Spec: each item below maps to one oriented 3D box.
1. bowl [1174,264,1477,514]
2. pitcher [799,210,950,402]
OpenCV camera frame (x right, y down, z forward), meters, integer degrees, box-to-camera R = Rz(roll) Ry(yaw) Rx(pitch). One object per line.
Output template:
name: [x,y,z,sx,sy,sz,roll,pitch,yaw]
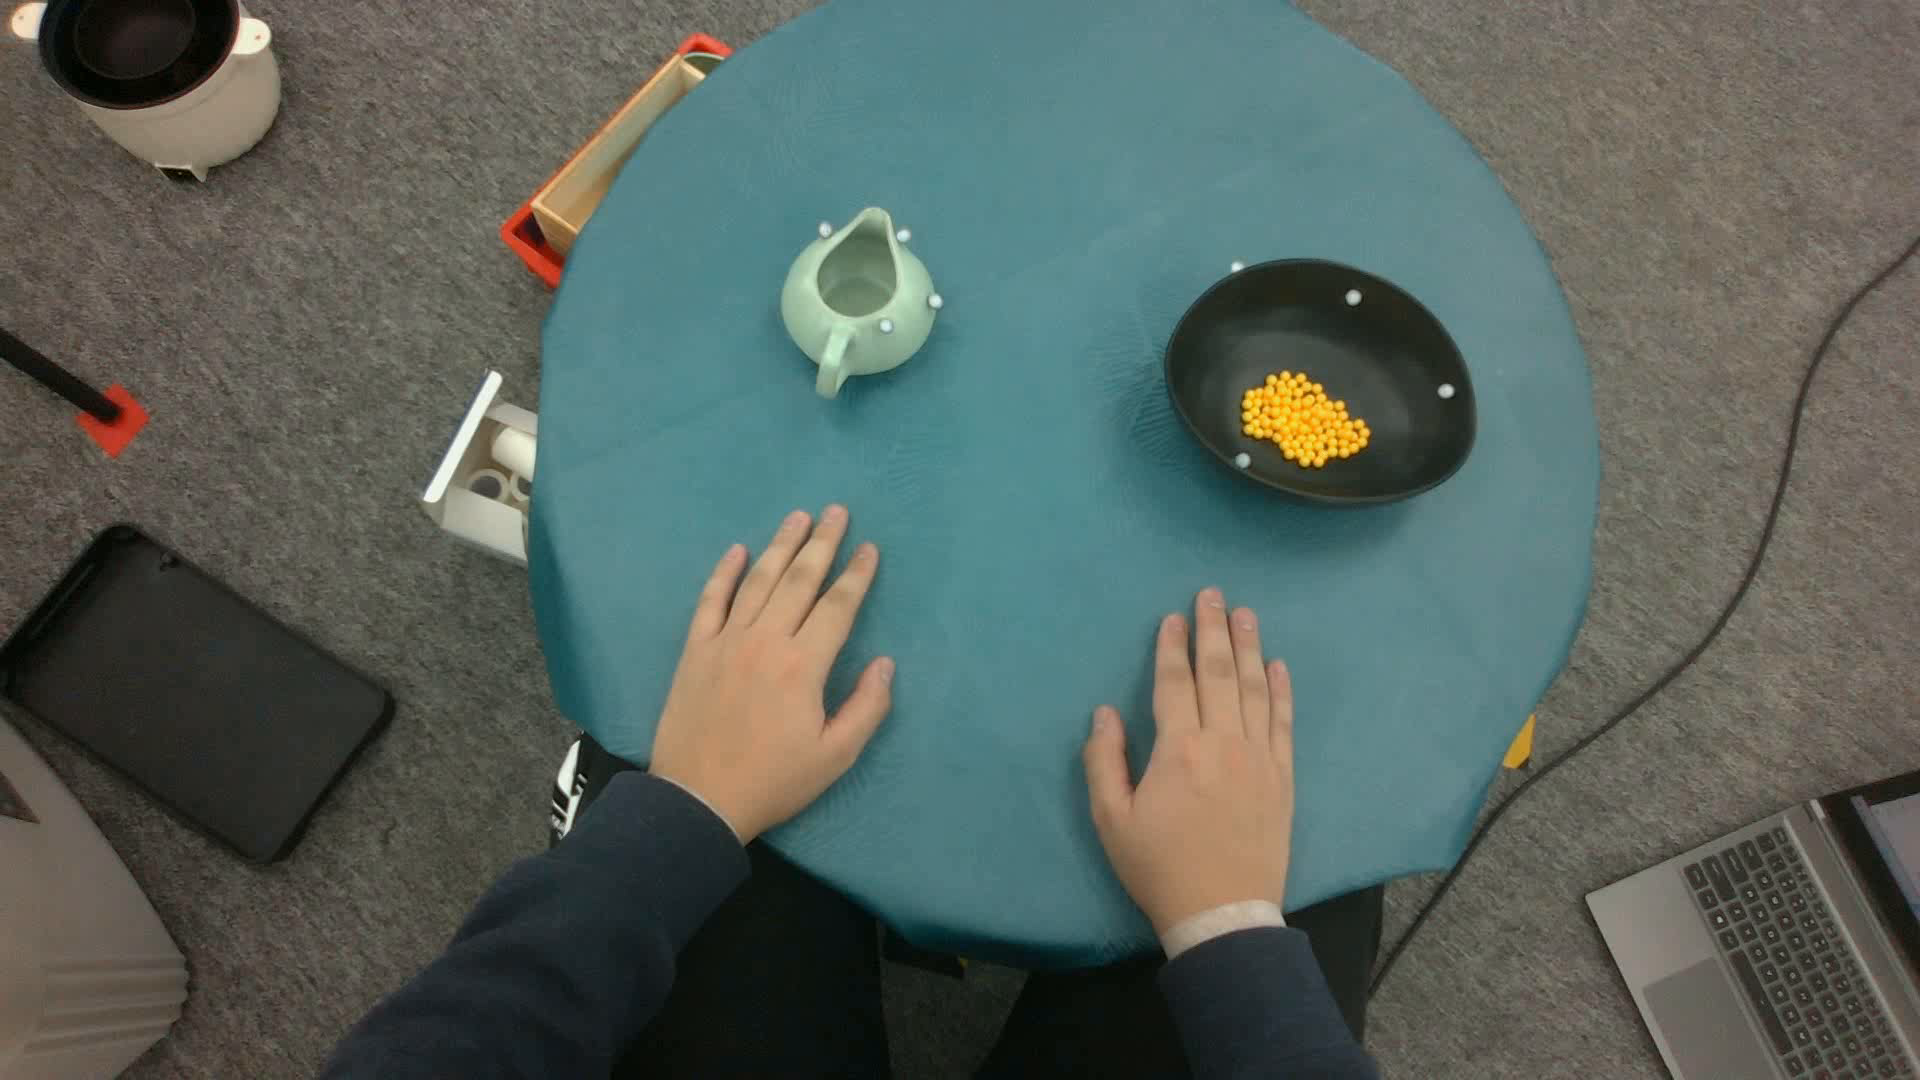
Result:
bowl: [0.197,-0.076,0.762,0.170,0.066,0.138,15,74,1]
pitcher: [-0.051,-0.125,0.771,0.086,0.060,0.108,12,75,3]
